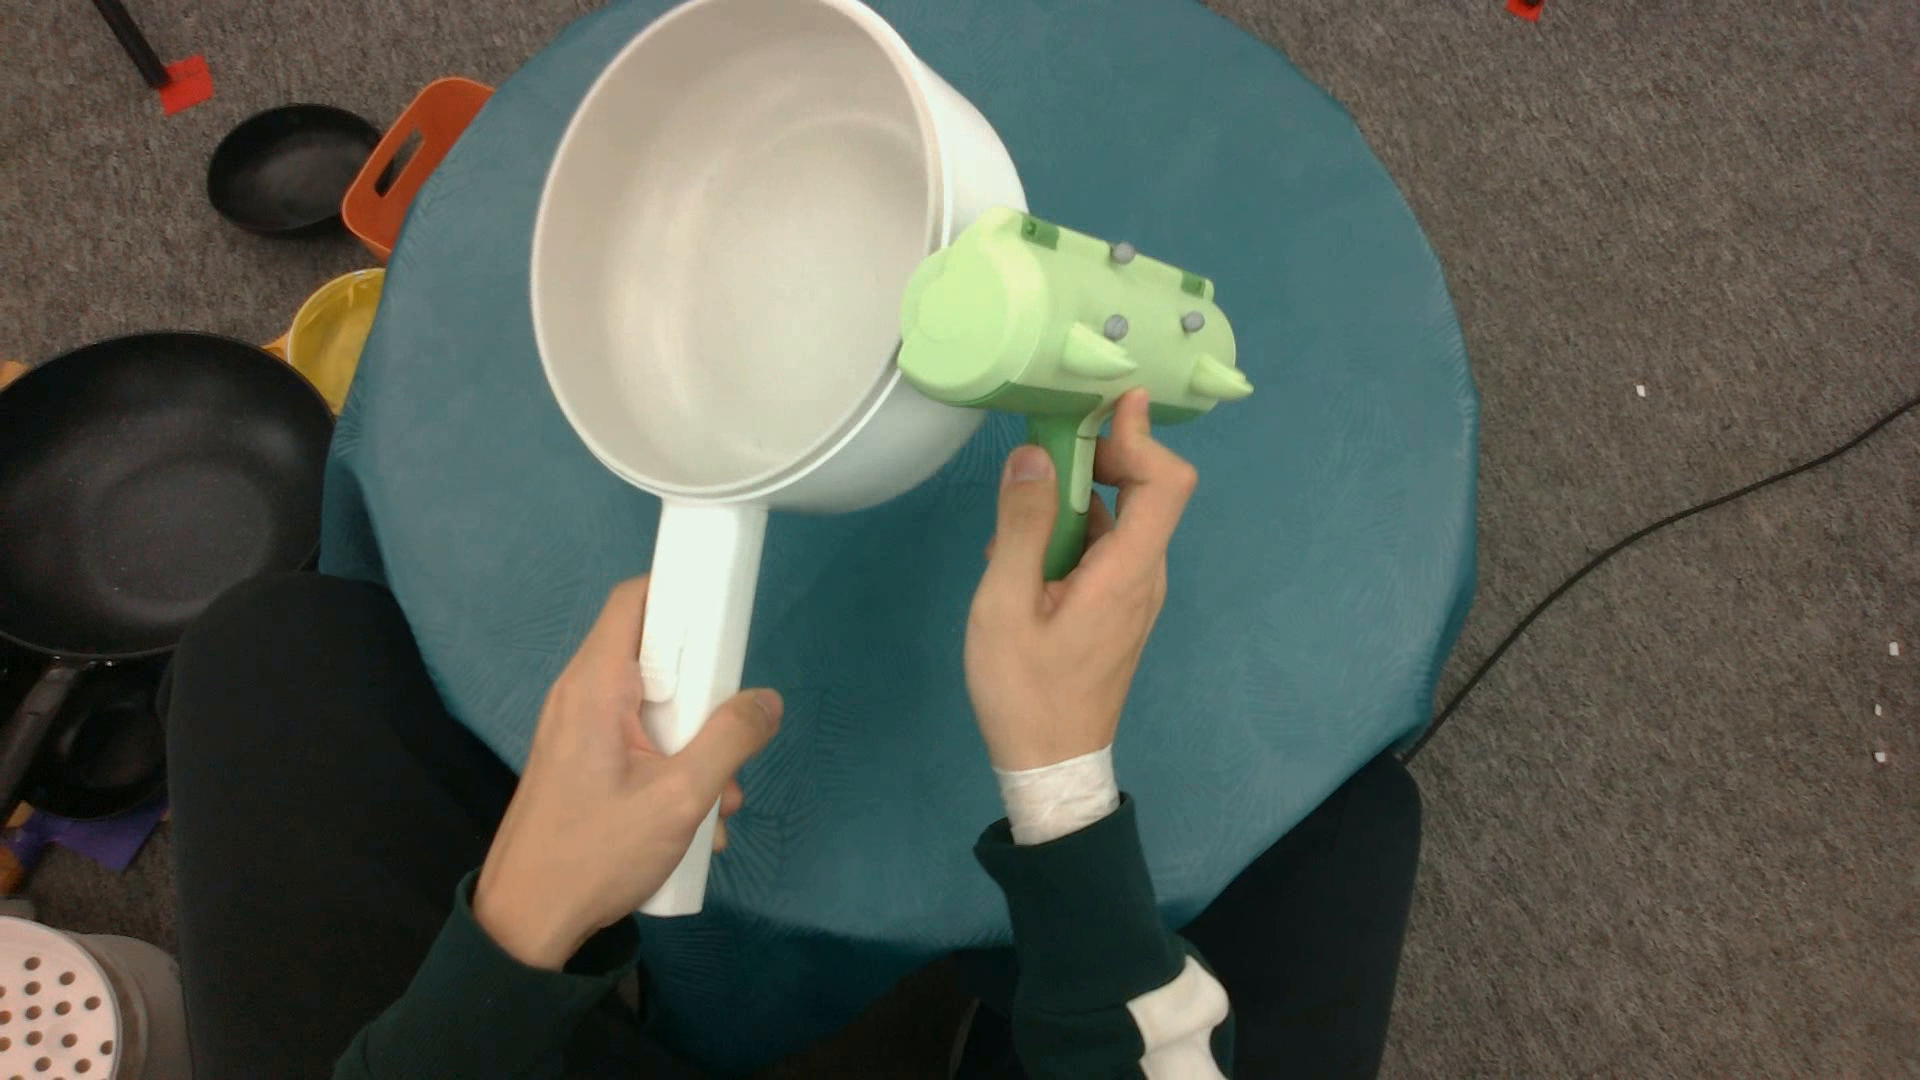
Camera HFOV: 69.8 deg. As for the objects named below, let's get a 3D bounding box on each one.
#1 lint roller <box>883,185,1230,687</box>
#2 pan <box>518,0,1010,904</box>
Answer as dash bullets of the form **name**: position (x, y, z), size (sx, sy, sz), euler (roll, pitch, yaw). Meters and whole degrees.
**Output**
- **lint roller**: position (0.045, -0.030, 0.533), size (0.082, 0.199, 0.183), euler (4, 95, 29)
- **pan**: position (-0.084, -0.035, 0.570), size (0.201, 0.102, 0.355), euler (5, 88, 29)
